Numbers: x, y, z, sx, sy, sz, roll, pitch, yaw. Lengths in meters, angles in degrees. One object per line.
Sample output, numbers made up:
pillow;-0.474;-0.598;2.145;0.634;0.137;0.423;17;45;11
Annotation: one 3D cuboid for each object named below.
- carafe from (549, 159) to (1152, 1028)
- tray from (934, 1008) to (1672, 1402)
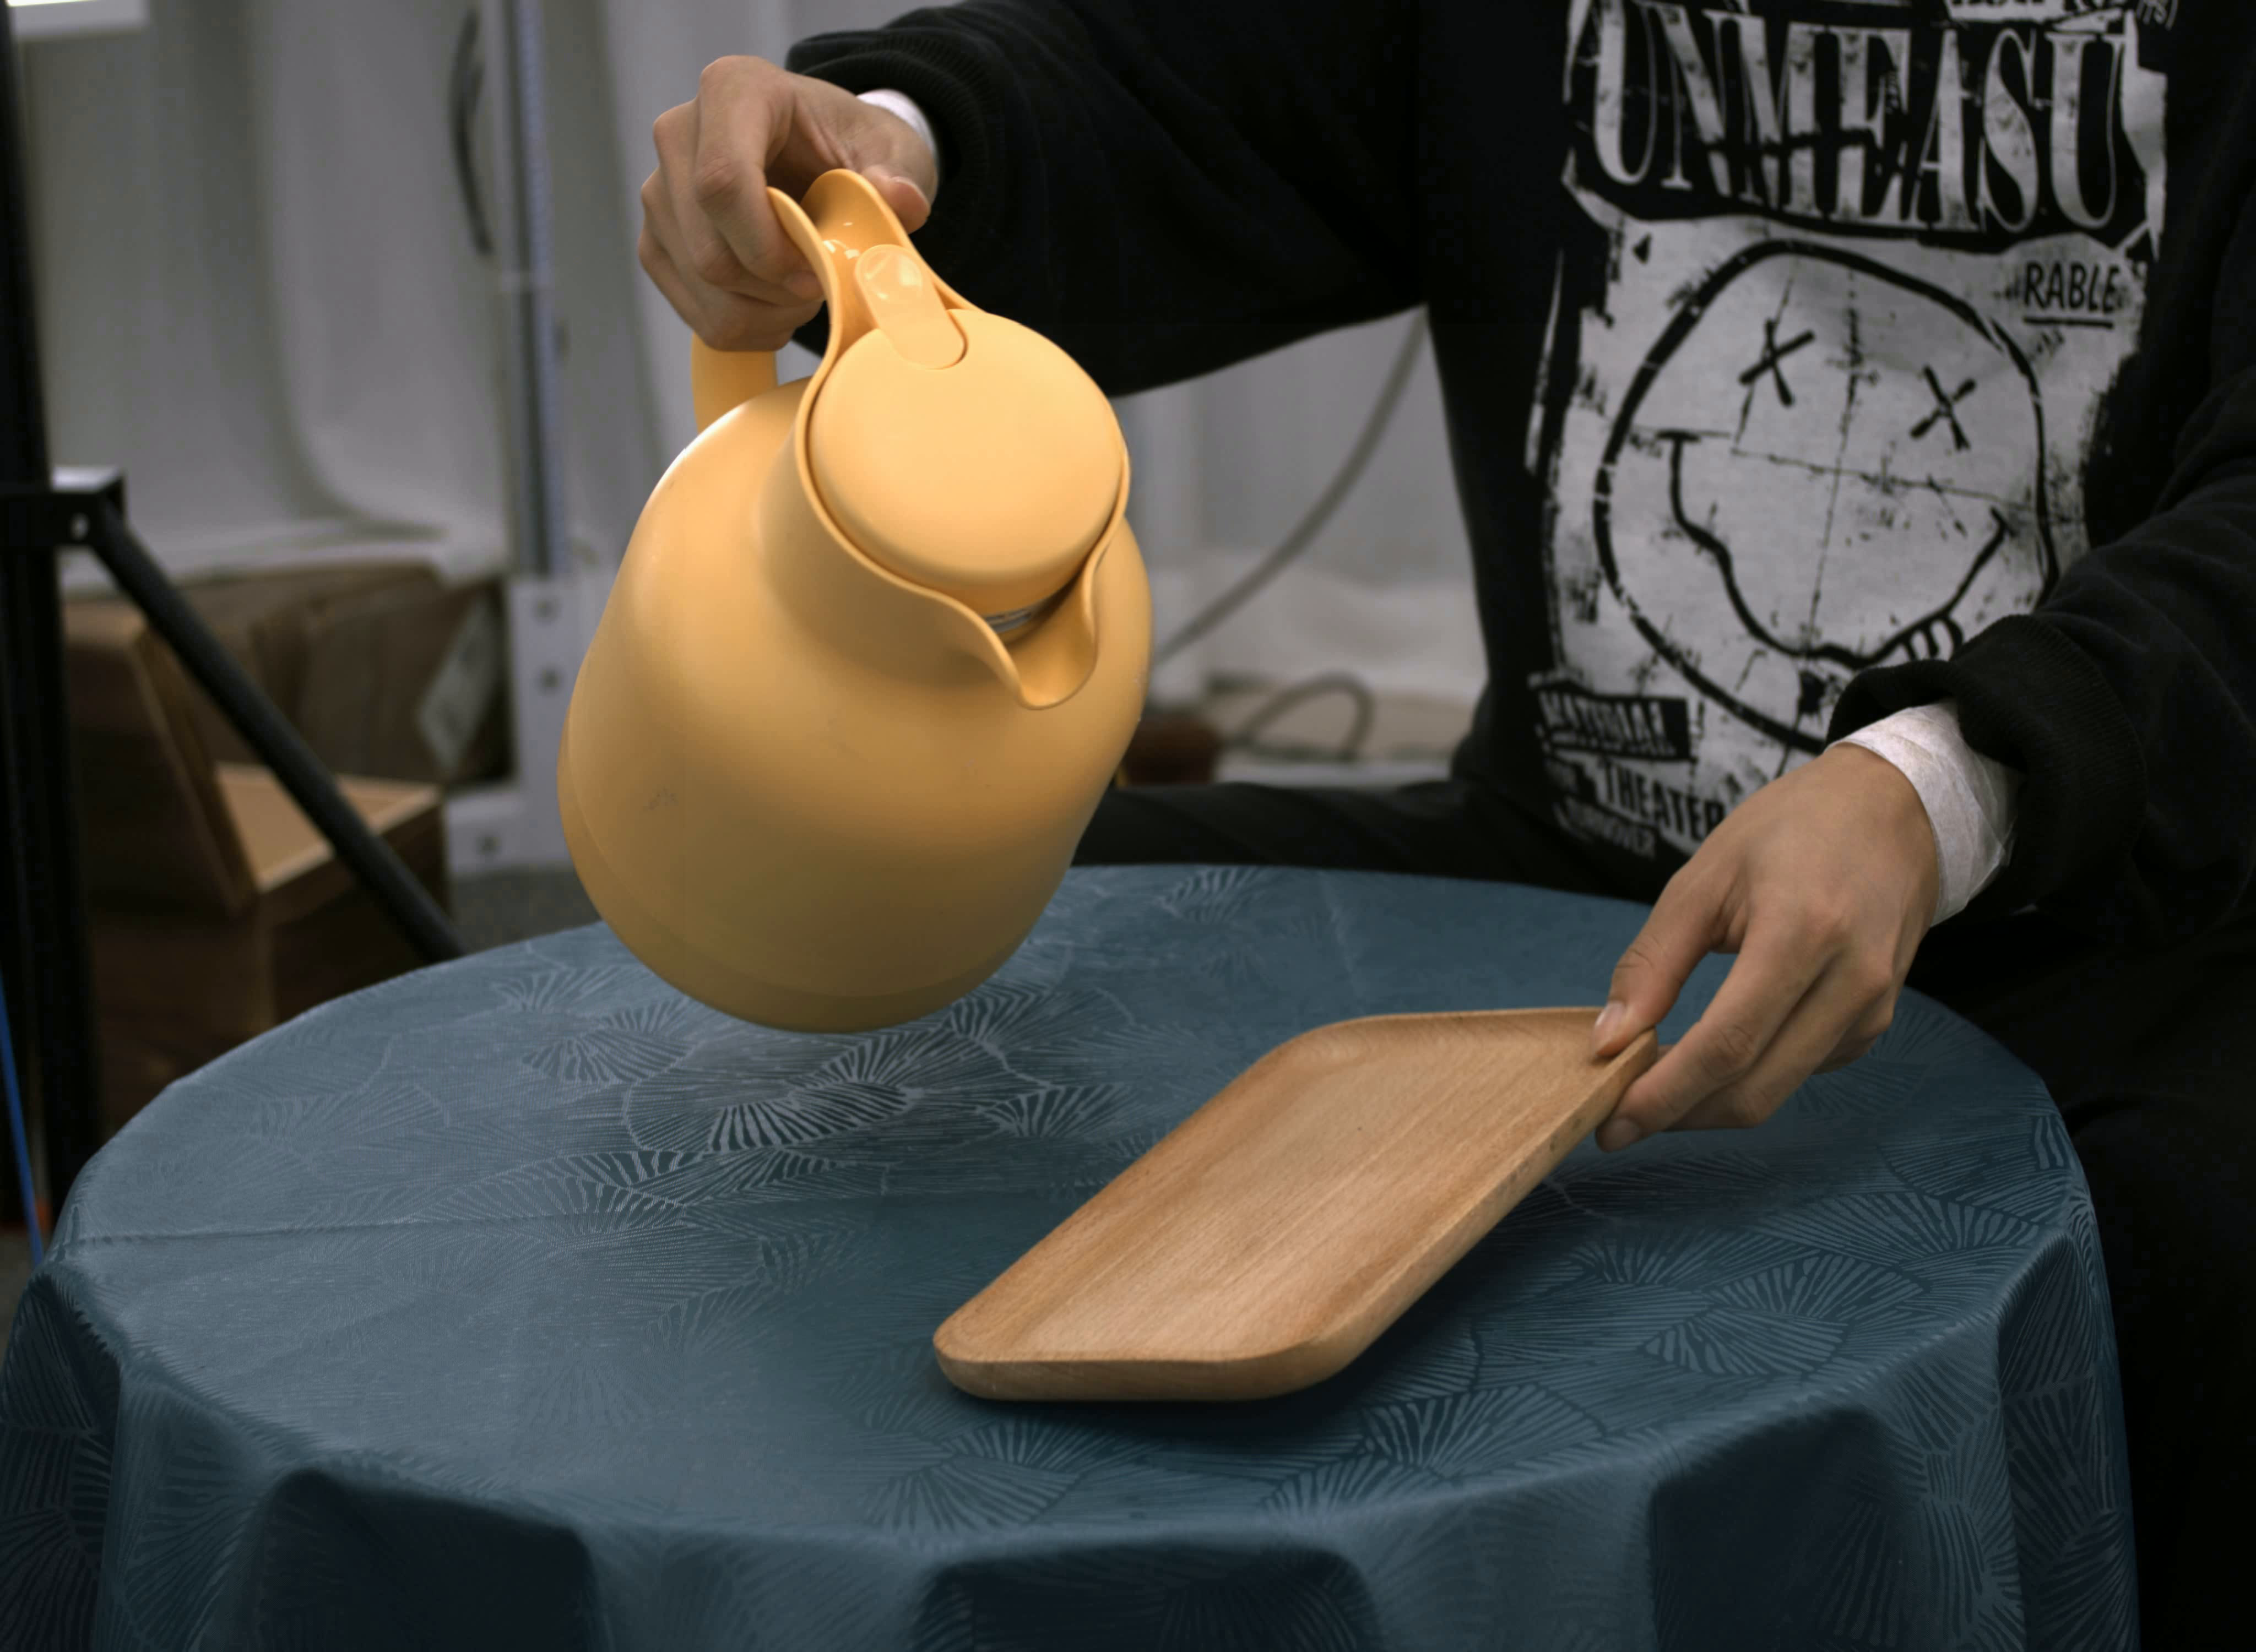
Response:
carafe;-0.081;-0.072;1.596;0.160;0.205;0.262;-12;-22;-23
tray;0.053;0.103;1.470;0.133;0.023;0.246;-1;18;32
